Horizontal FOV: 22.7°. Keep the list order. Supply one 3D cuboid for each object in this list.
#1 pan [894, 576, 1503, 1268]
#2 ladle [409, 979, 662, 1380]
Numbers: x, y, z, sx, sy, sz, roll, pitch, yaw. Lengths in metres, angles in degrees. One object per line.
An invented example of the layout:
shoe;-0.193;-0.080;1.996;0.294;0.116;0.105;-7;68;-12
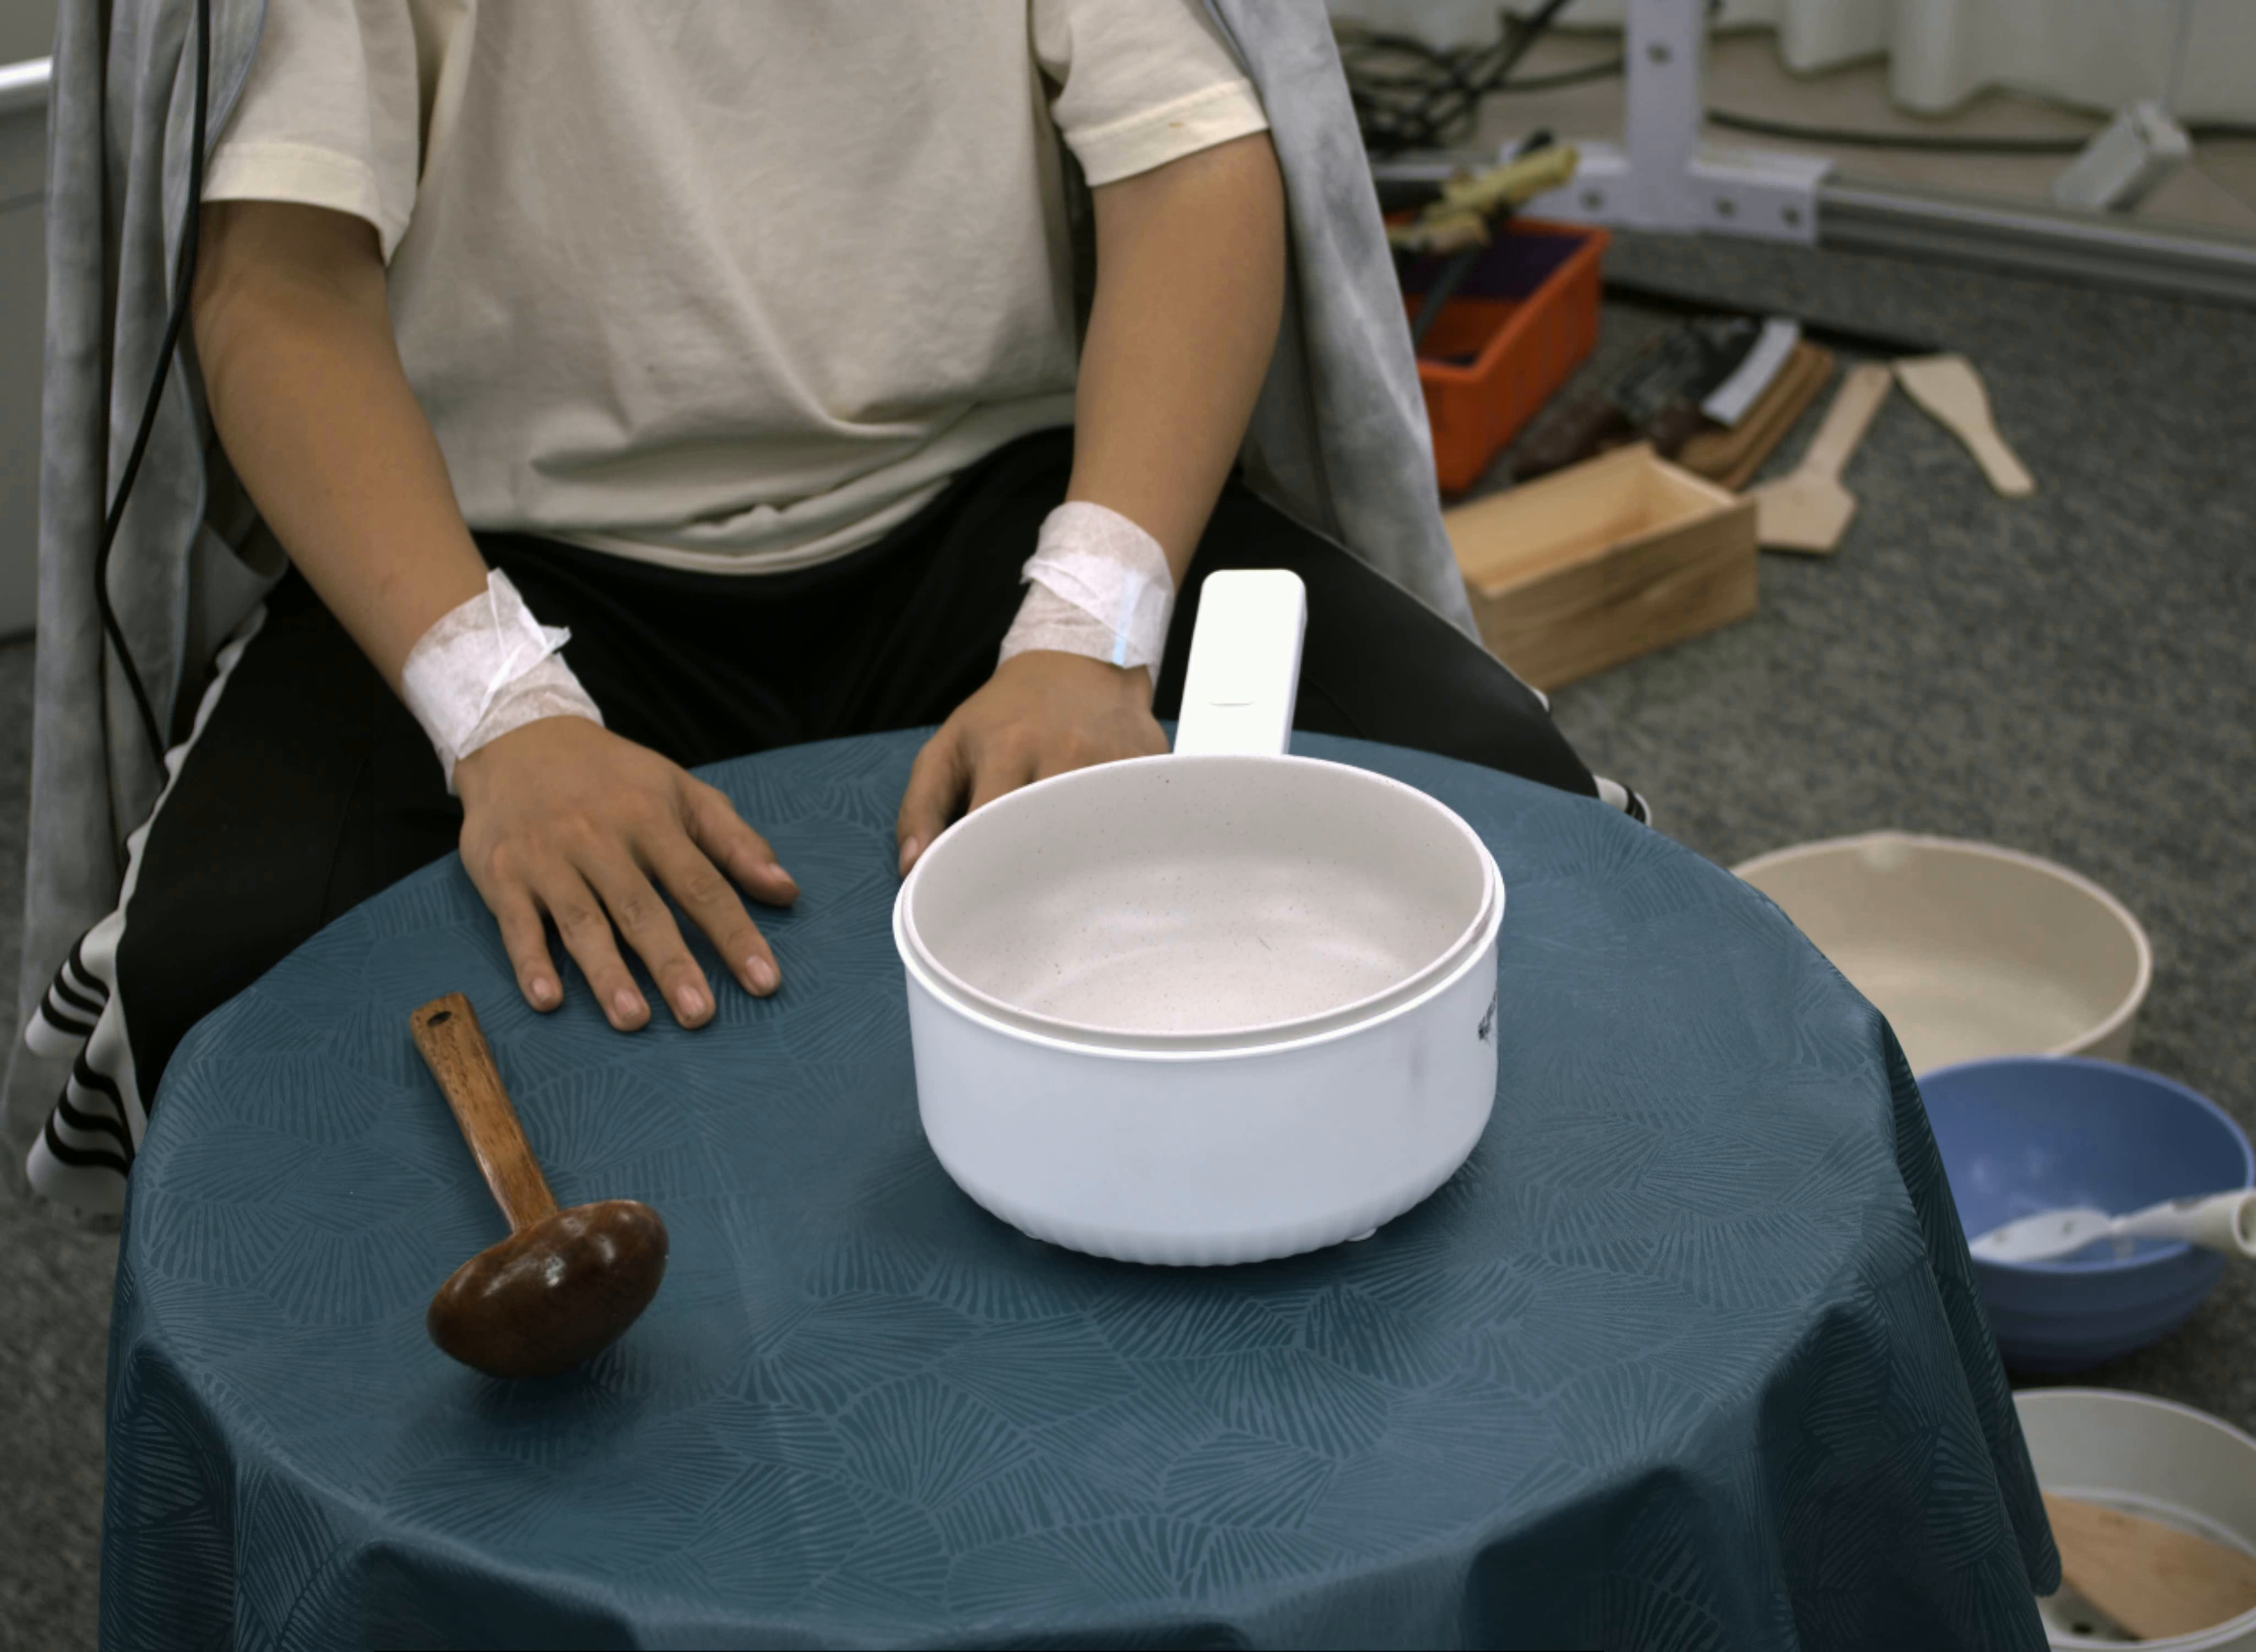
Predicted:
pan;0.033;0.030;1.931;0.200;0.101;0.360;-1;26;7
ladle;-0.211;0.098;1.842;0.082;0.076;0.277;-19;31;-6
